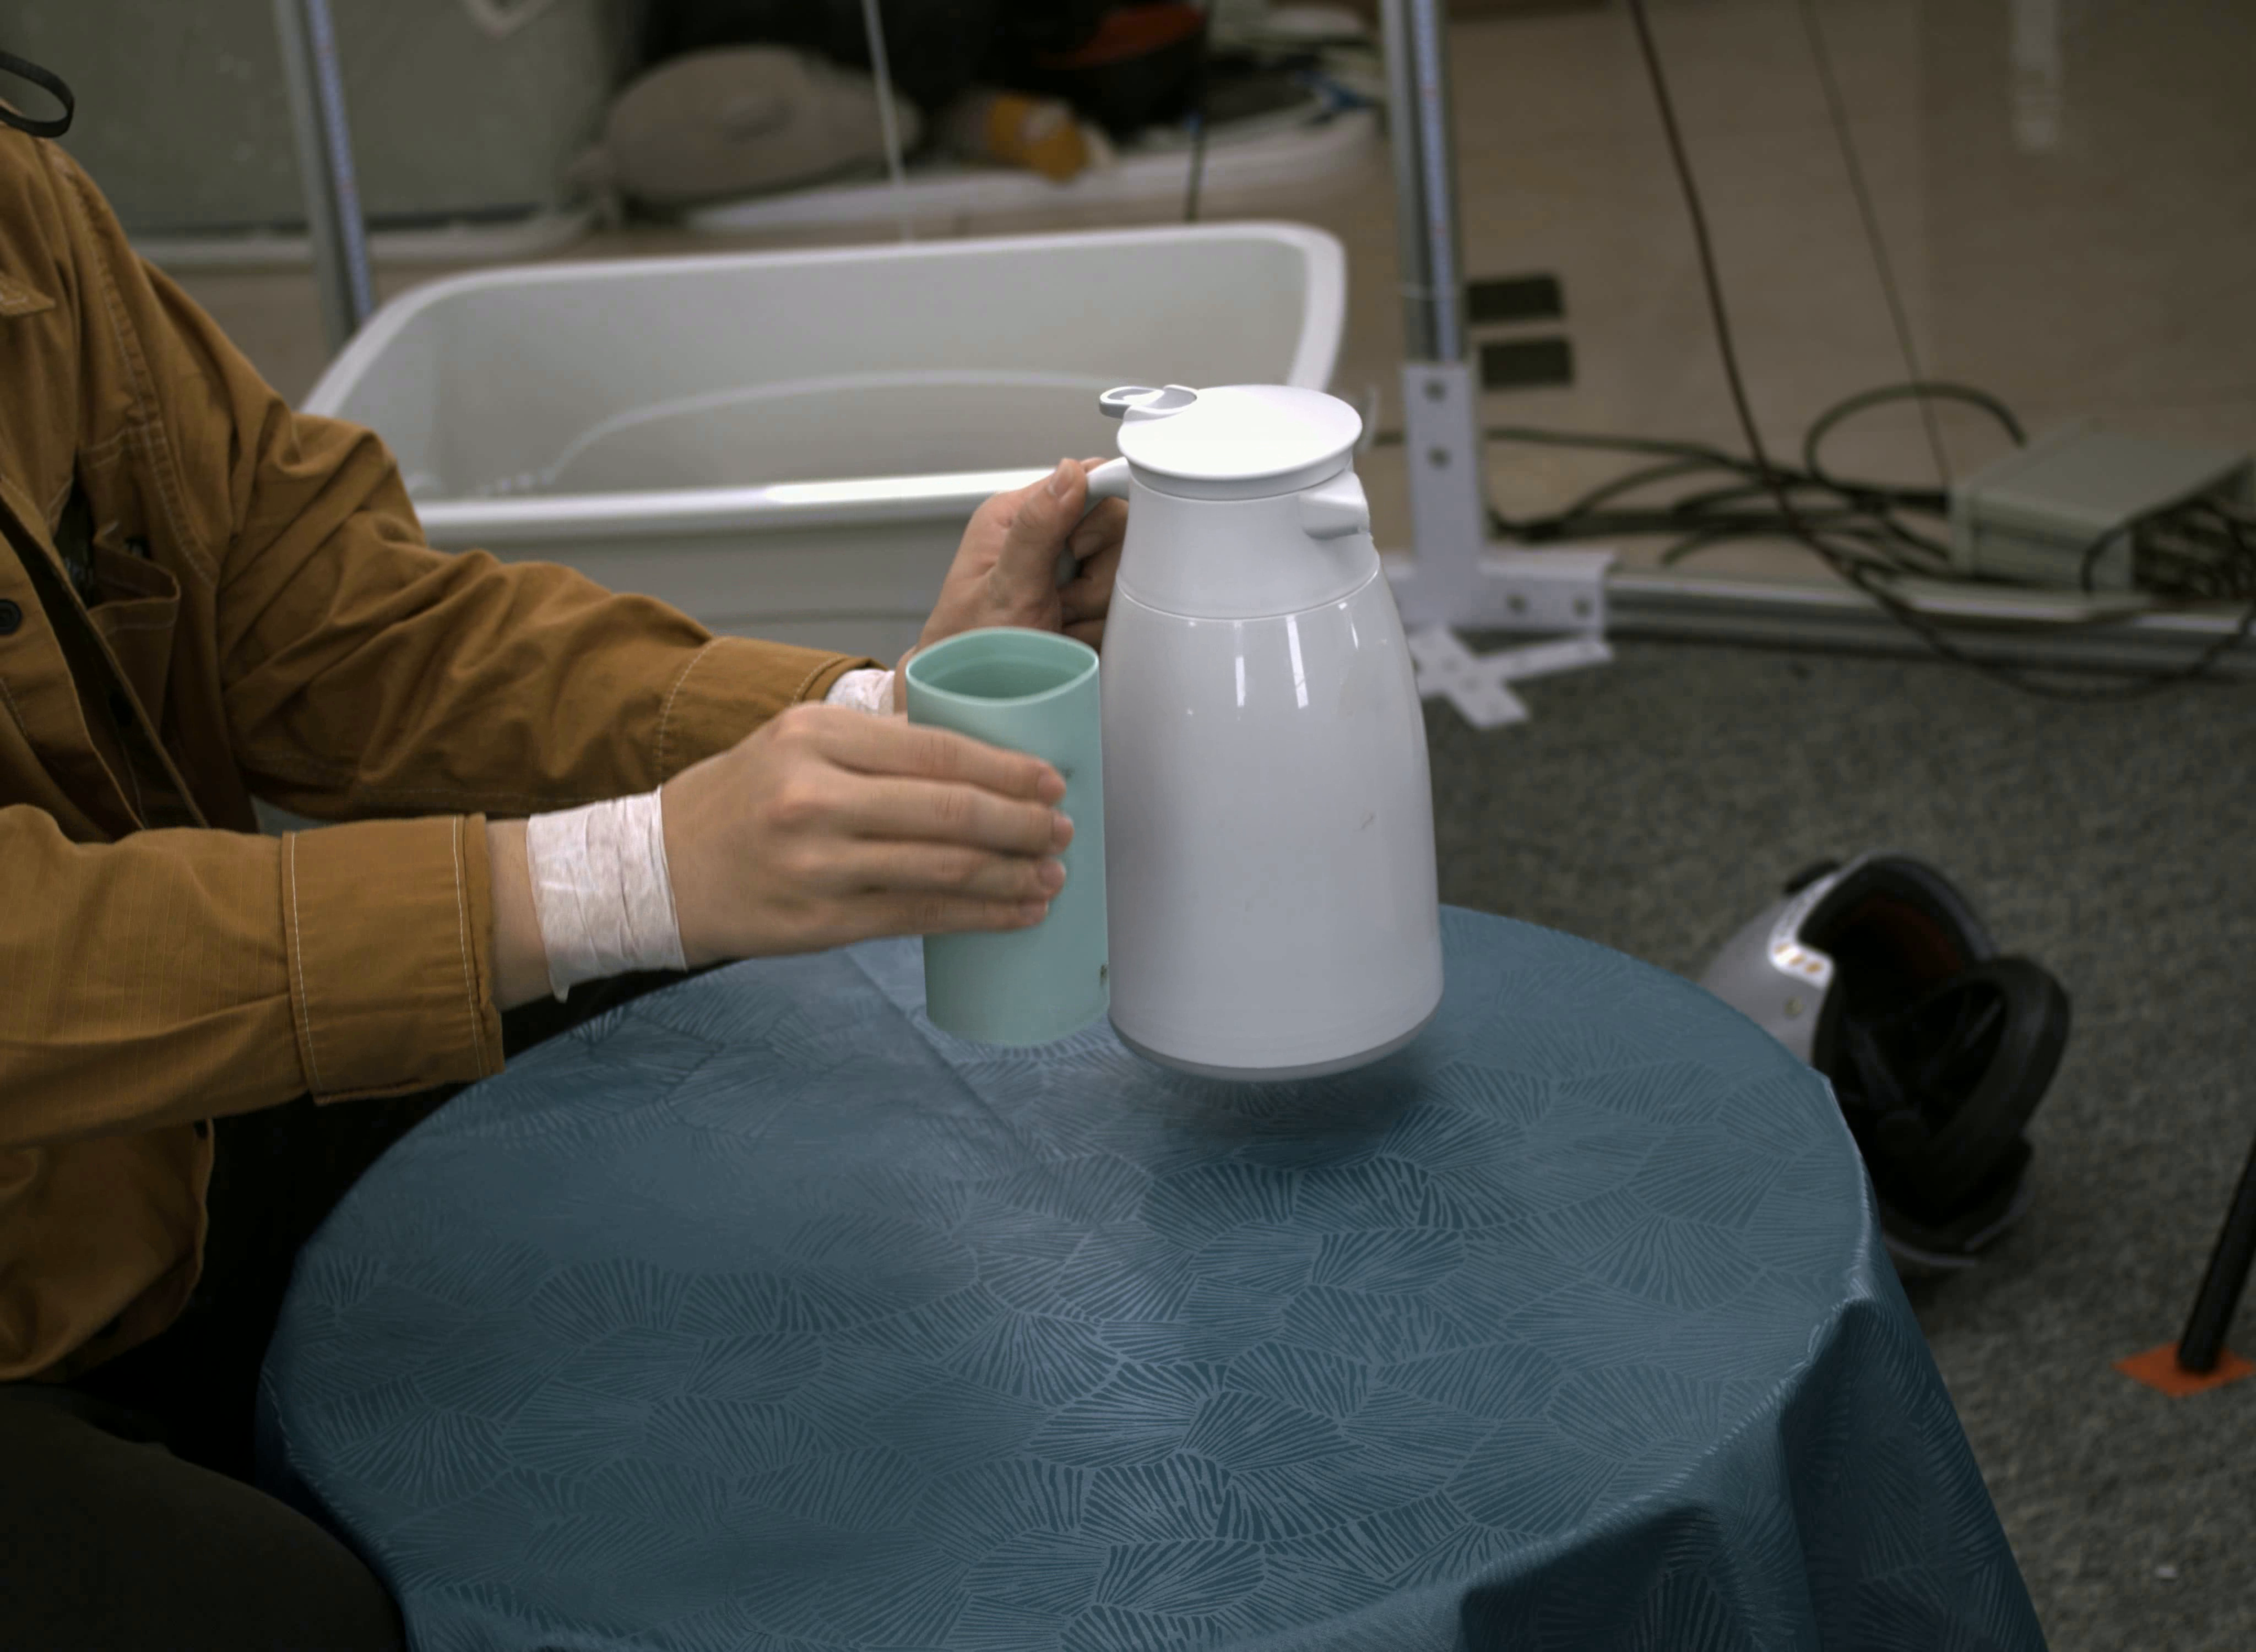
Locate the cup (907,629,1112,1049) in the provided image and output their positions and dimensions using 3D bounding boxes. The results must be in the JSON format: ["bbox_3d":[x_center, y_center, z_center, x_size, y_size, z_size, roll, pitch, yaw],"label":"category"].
[{"bbox_3d":[-0.041,0.005,1.961,0.066,0.134,0.066,-2,25,1],"label":"cup"}]

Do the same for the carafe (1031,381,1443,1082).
[{"bbox_3d":[0.033,-0.046,2.157,0.166,0.252,0.131,16,33,37],"label":"carafe"}]
